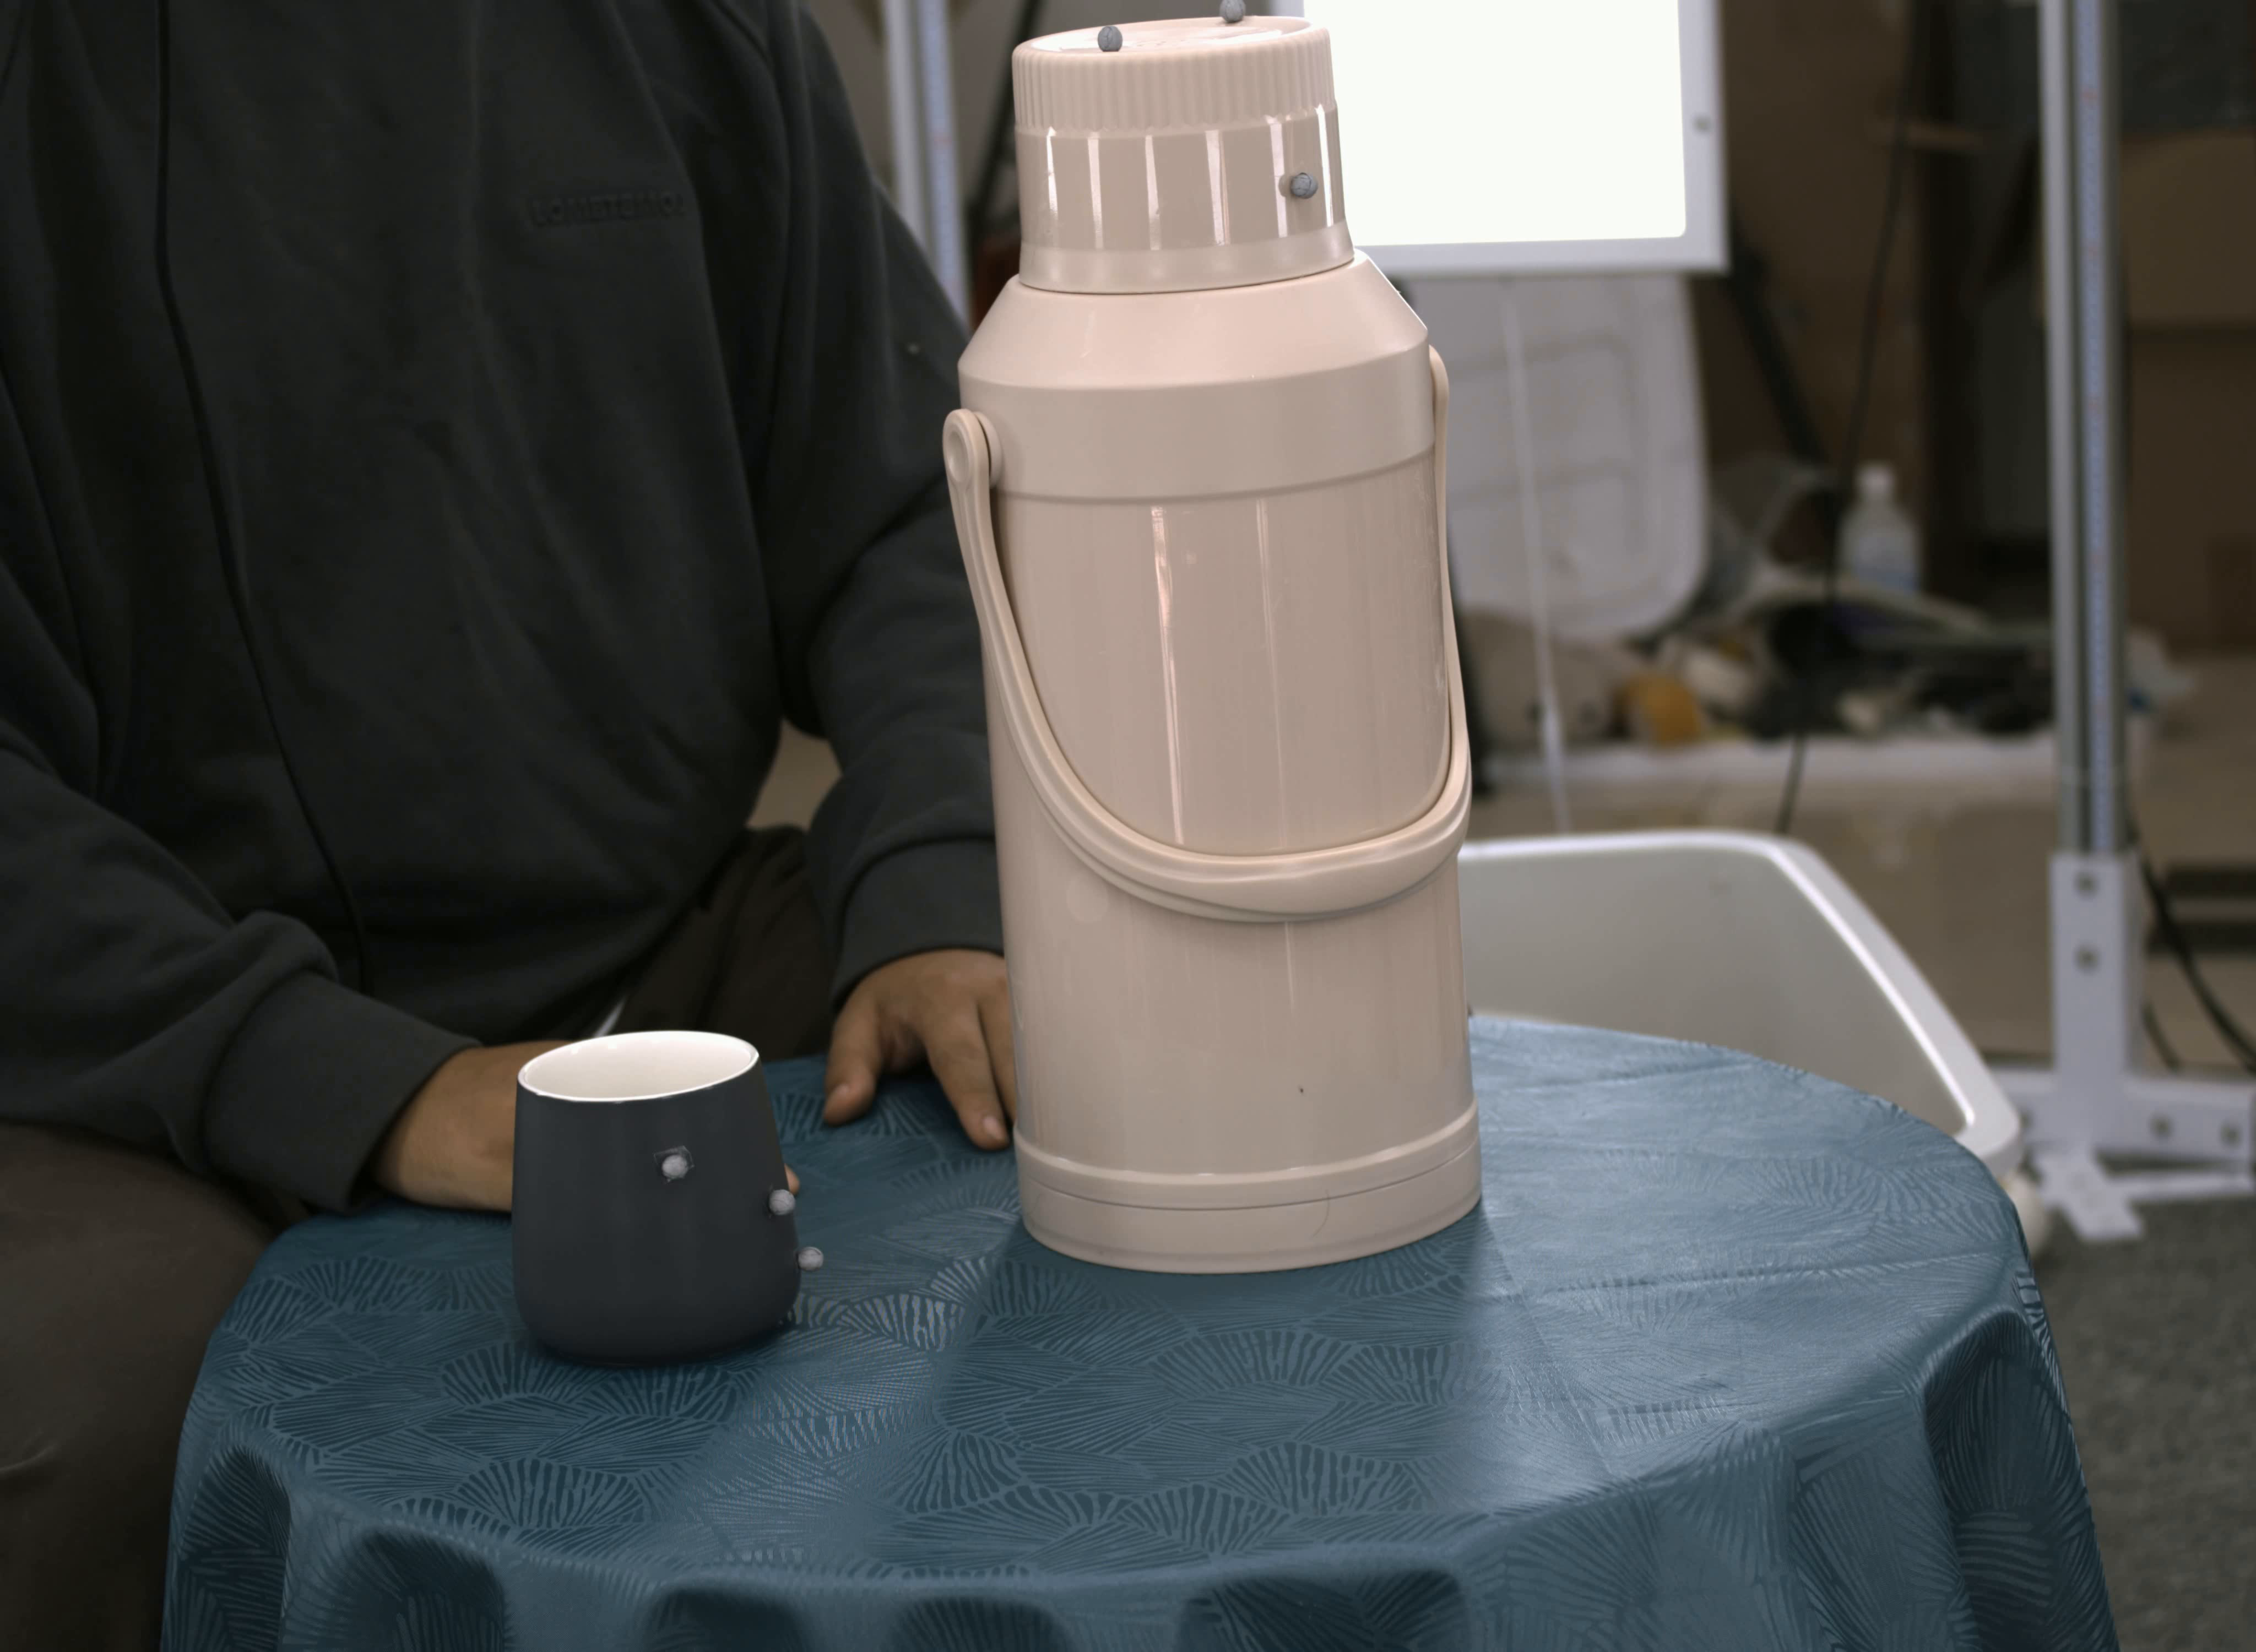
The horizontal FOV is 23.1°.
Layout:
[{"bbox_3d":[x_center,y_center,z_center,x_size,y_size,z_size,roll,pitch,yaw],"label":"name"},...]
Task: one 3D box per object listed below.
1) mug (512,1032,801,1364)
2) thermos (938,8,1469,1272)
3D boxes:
[{"bbox_3d":[-0.159,0.117,1.801,0.092,0.090,0.124,-8,14,-15],"label":"mug"},{"bbox_3d":[0.021,-0.067,1.844,0.172,0.408,0.210,-10,15,-23],"label":"thermos"}]
